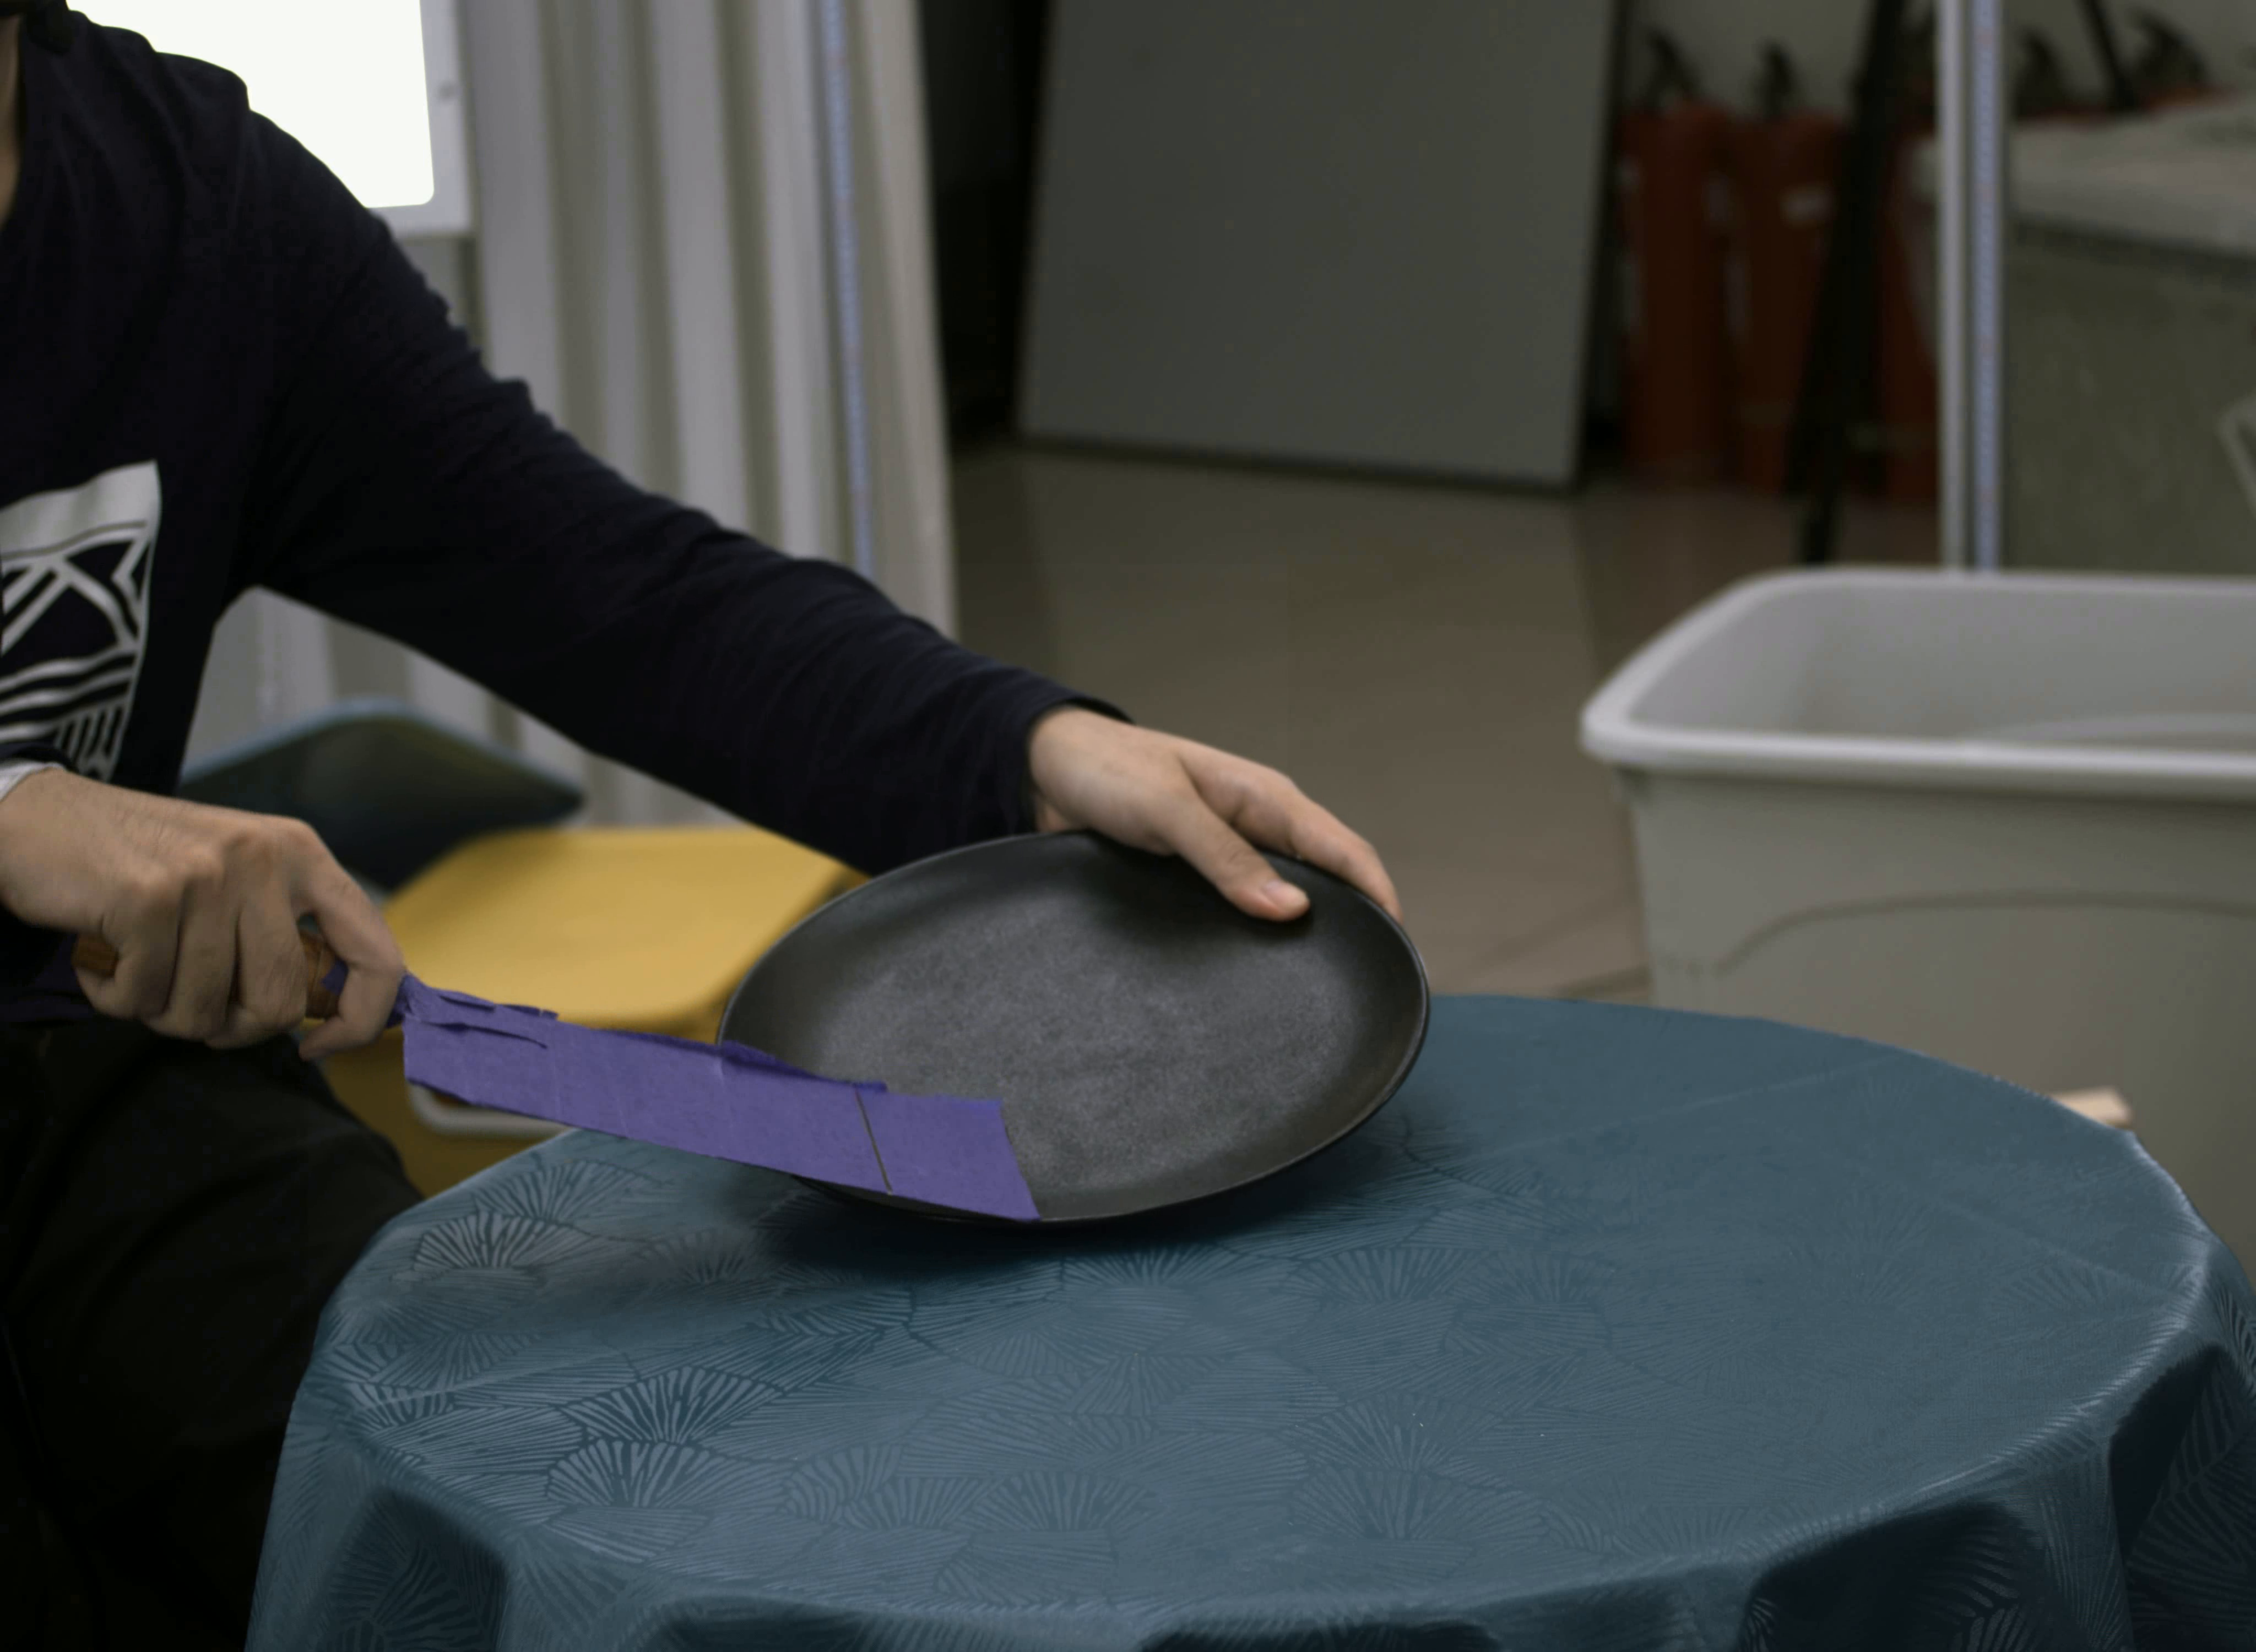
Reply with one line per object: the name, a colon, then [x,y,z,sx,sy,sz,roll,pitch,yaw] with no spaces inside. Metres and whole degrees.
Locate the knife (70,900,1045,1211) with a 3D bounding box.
knife: [-0.177,0.074,1.716,0.309,0.032,0.104,10,16,-12]

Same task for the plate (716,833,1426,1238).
plate: [-0.019,0.074,1.819,0.241,0.023,0.245,-6,31,3]
